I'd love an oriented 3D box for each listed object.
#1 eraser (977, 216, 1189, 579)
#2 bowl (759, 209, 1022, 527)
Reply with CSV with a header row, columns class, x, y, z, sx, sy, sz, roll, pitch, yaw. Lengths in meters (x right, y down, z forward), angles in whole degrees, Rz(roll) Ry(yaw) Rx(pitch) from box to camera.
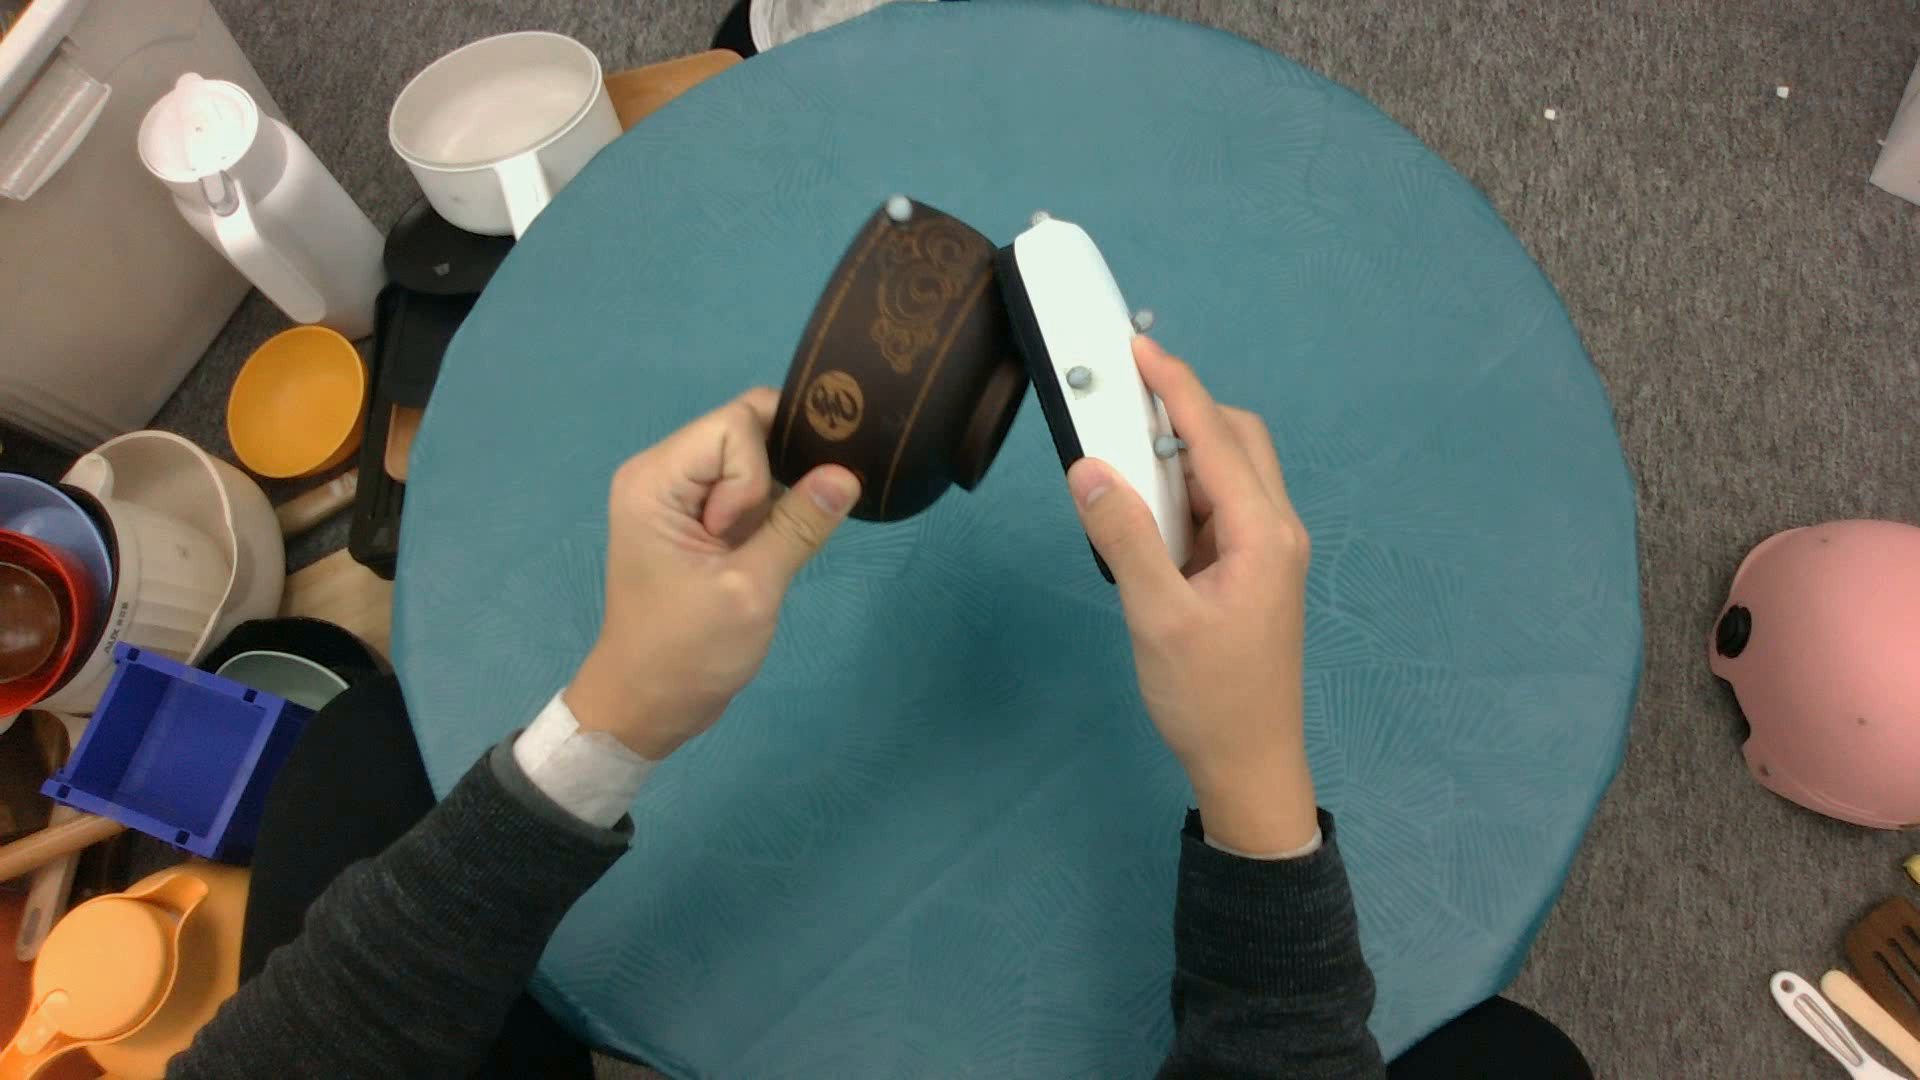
class,x,y,z,sx,sy,sz,roll,pitch,yaw
eraser,0.048,-0.051,0.492,0.034,0.063,0.131,-20,92,22
bowl,-0.019,-0.057,0.519,0.070,0.117,0.118,26,73,-3
